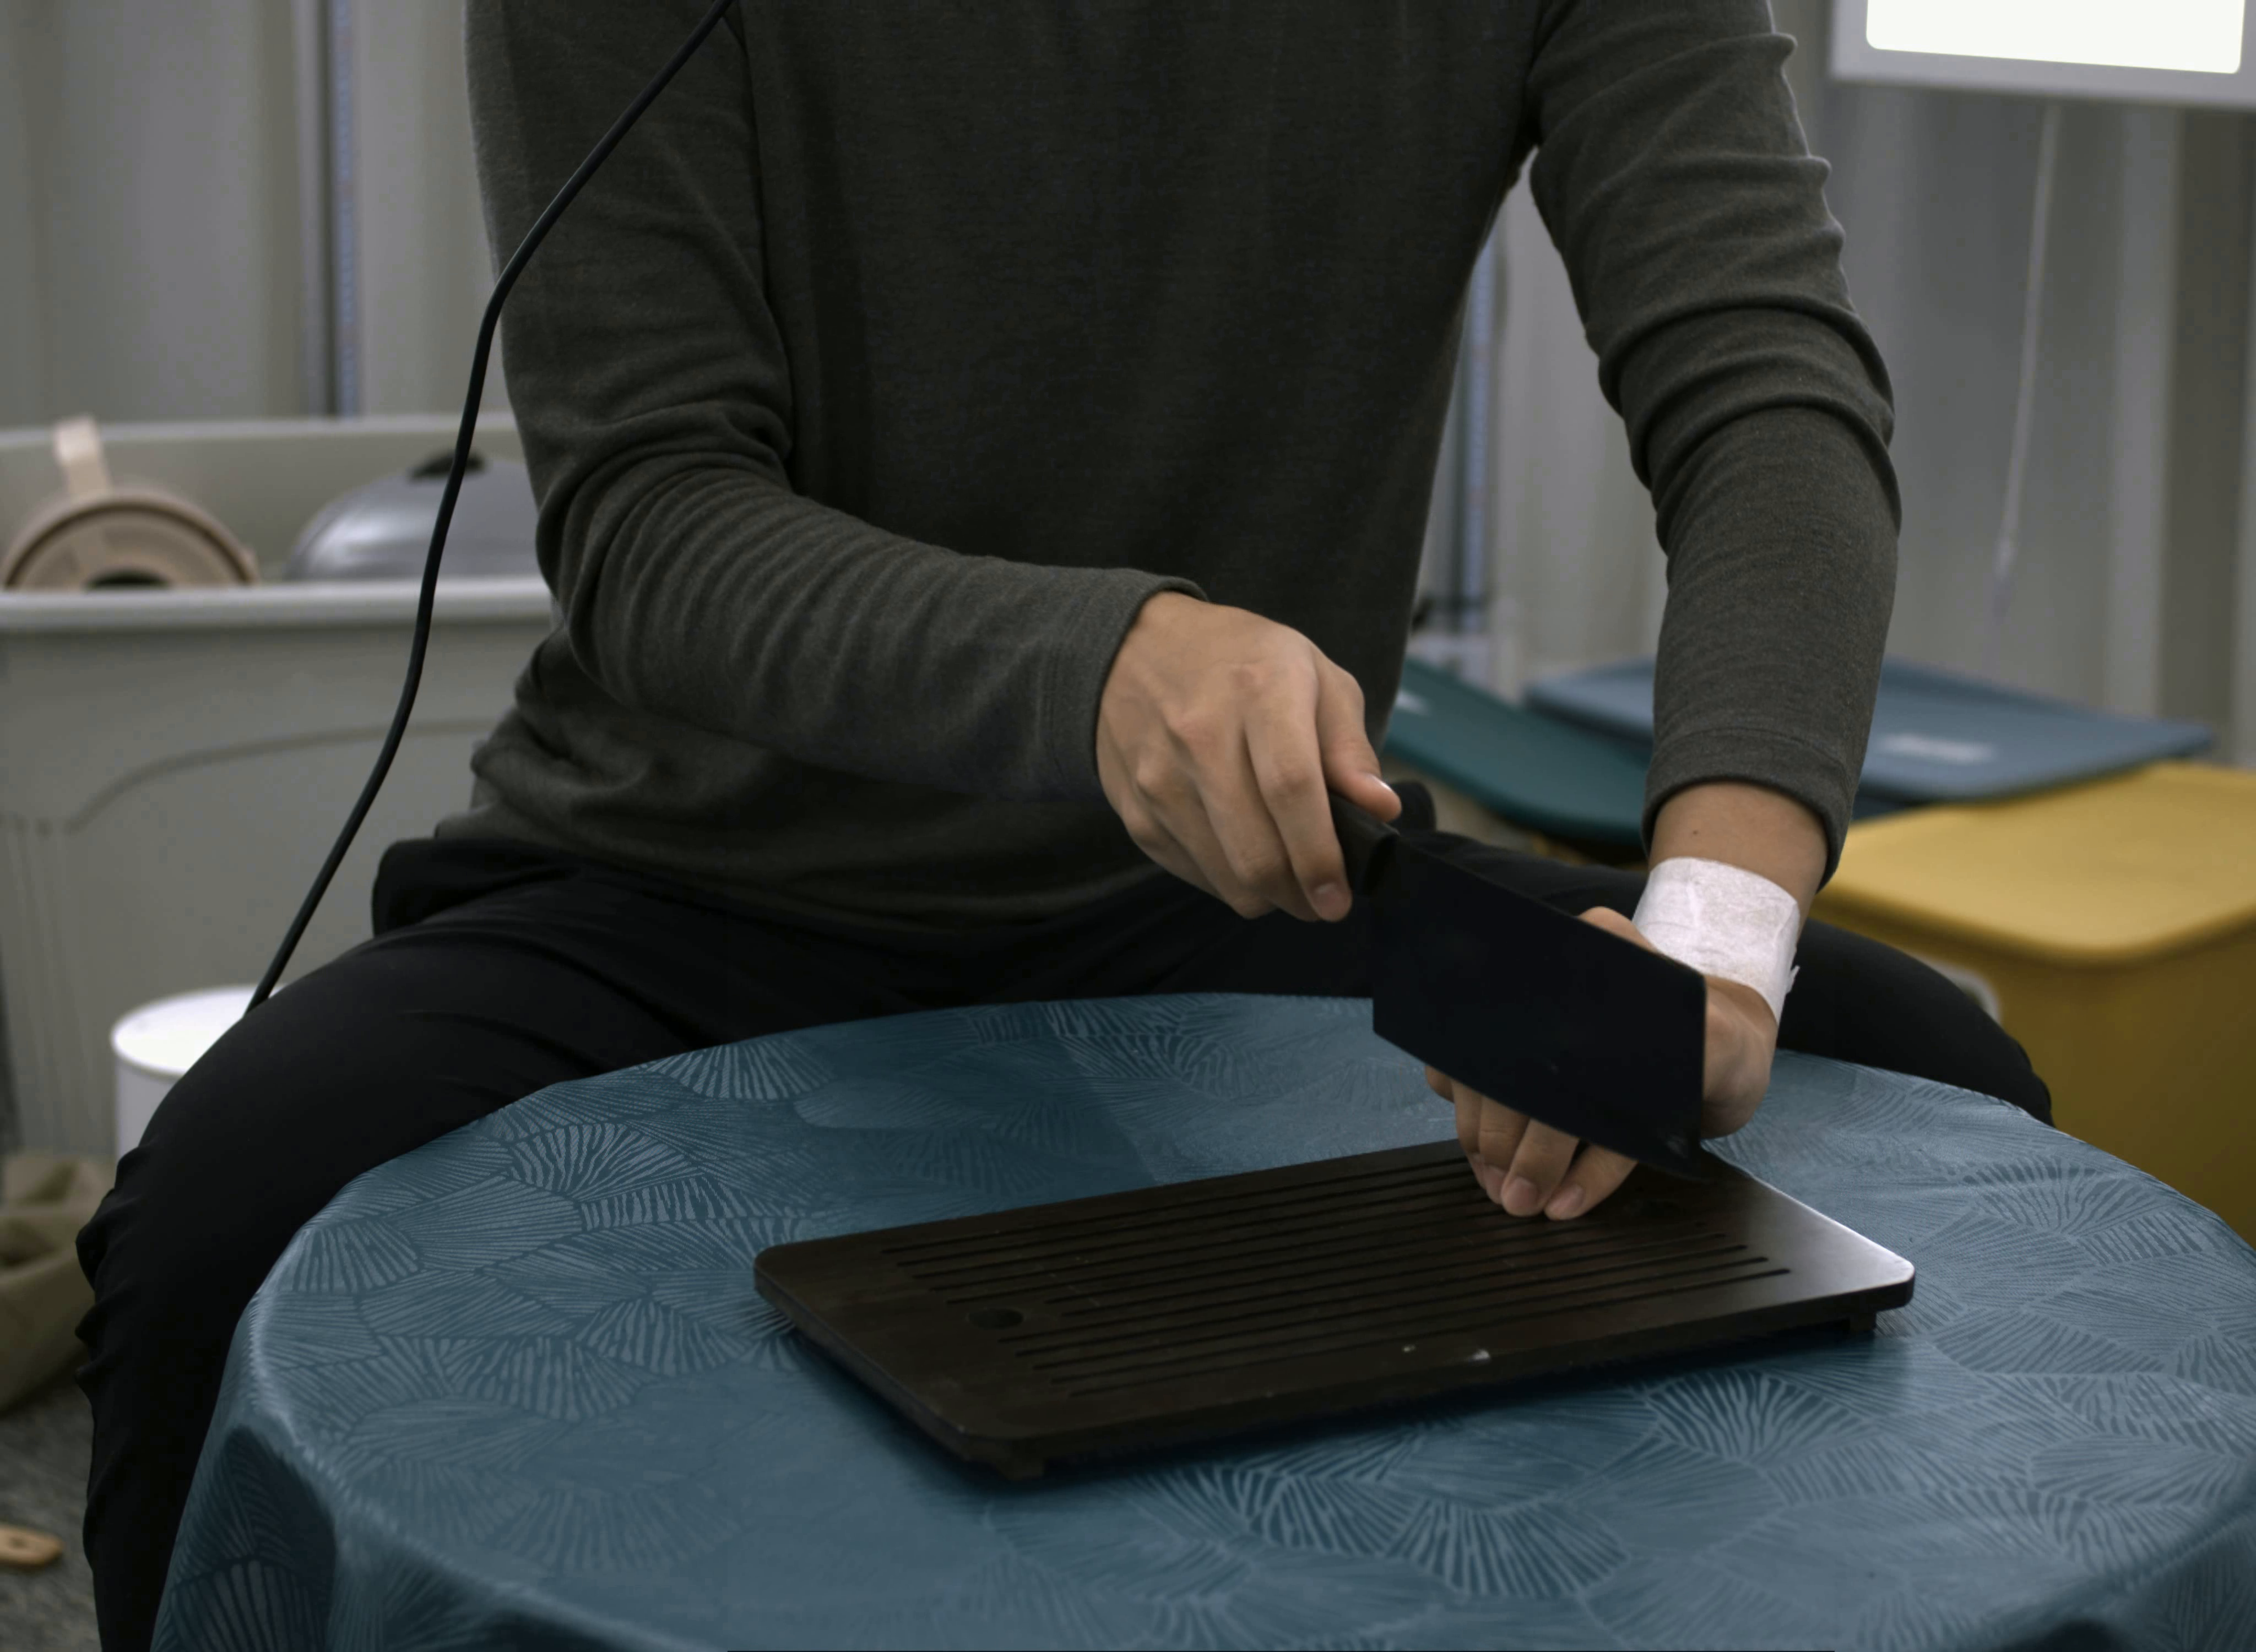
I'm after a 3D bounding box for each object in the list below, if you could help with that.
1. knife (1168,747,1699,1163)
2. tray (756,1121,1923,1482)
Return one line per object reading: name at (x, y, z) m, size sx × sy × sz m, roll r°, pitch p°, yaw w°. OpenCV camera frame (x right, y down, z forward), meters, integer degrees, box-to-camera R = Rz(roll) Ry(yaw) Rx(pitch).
knife at (0.088, 0.031, 1.571) m, size 0.021 × 0.081 × 0.298 m, roll -7°, pitch 20°, yaw -27°
tray at (0.061, 0.134, 1.514) m, size 0.307 × 0.019 × 0.168 m, roll -6°, pitch 16°, yaw -26°
